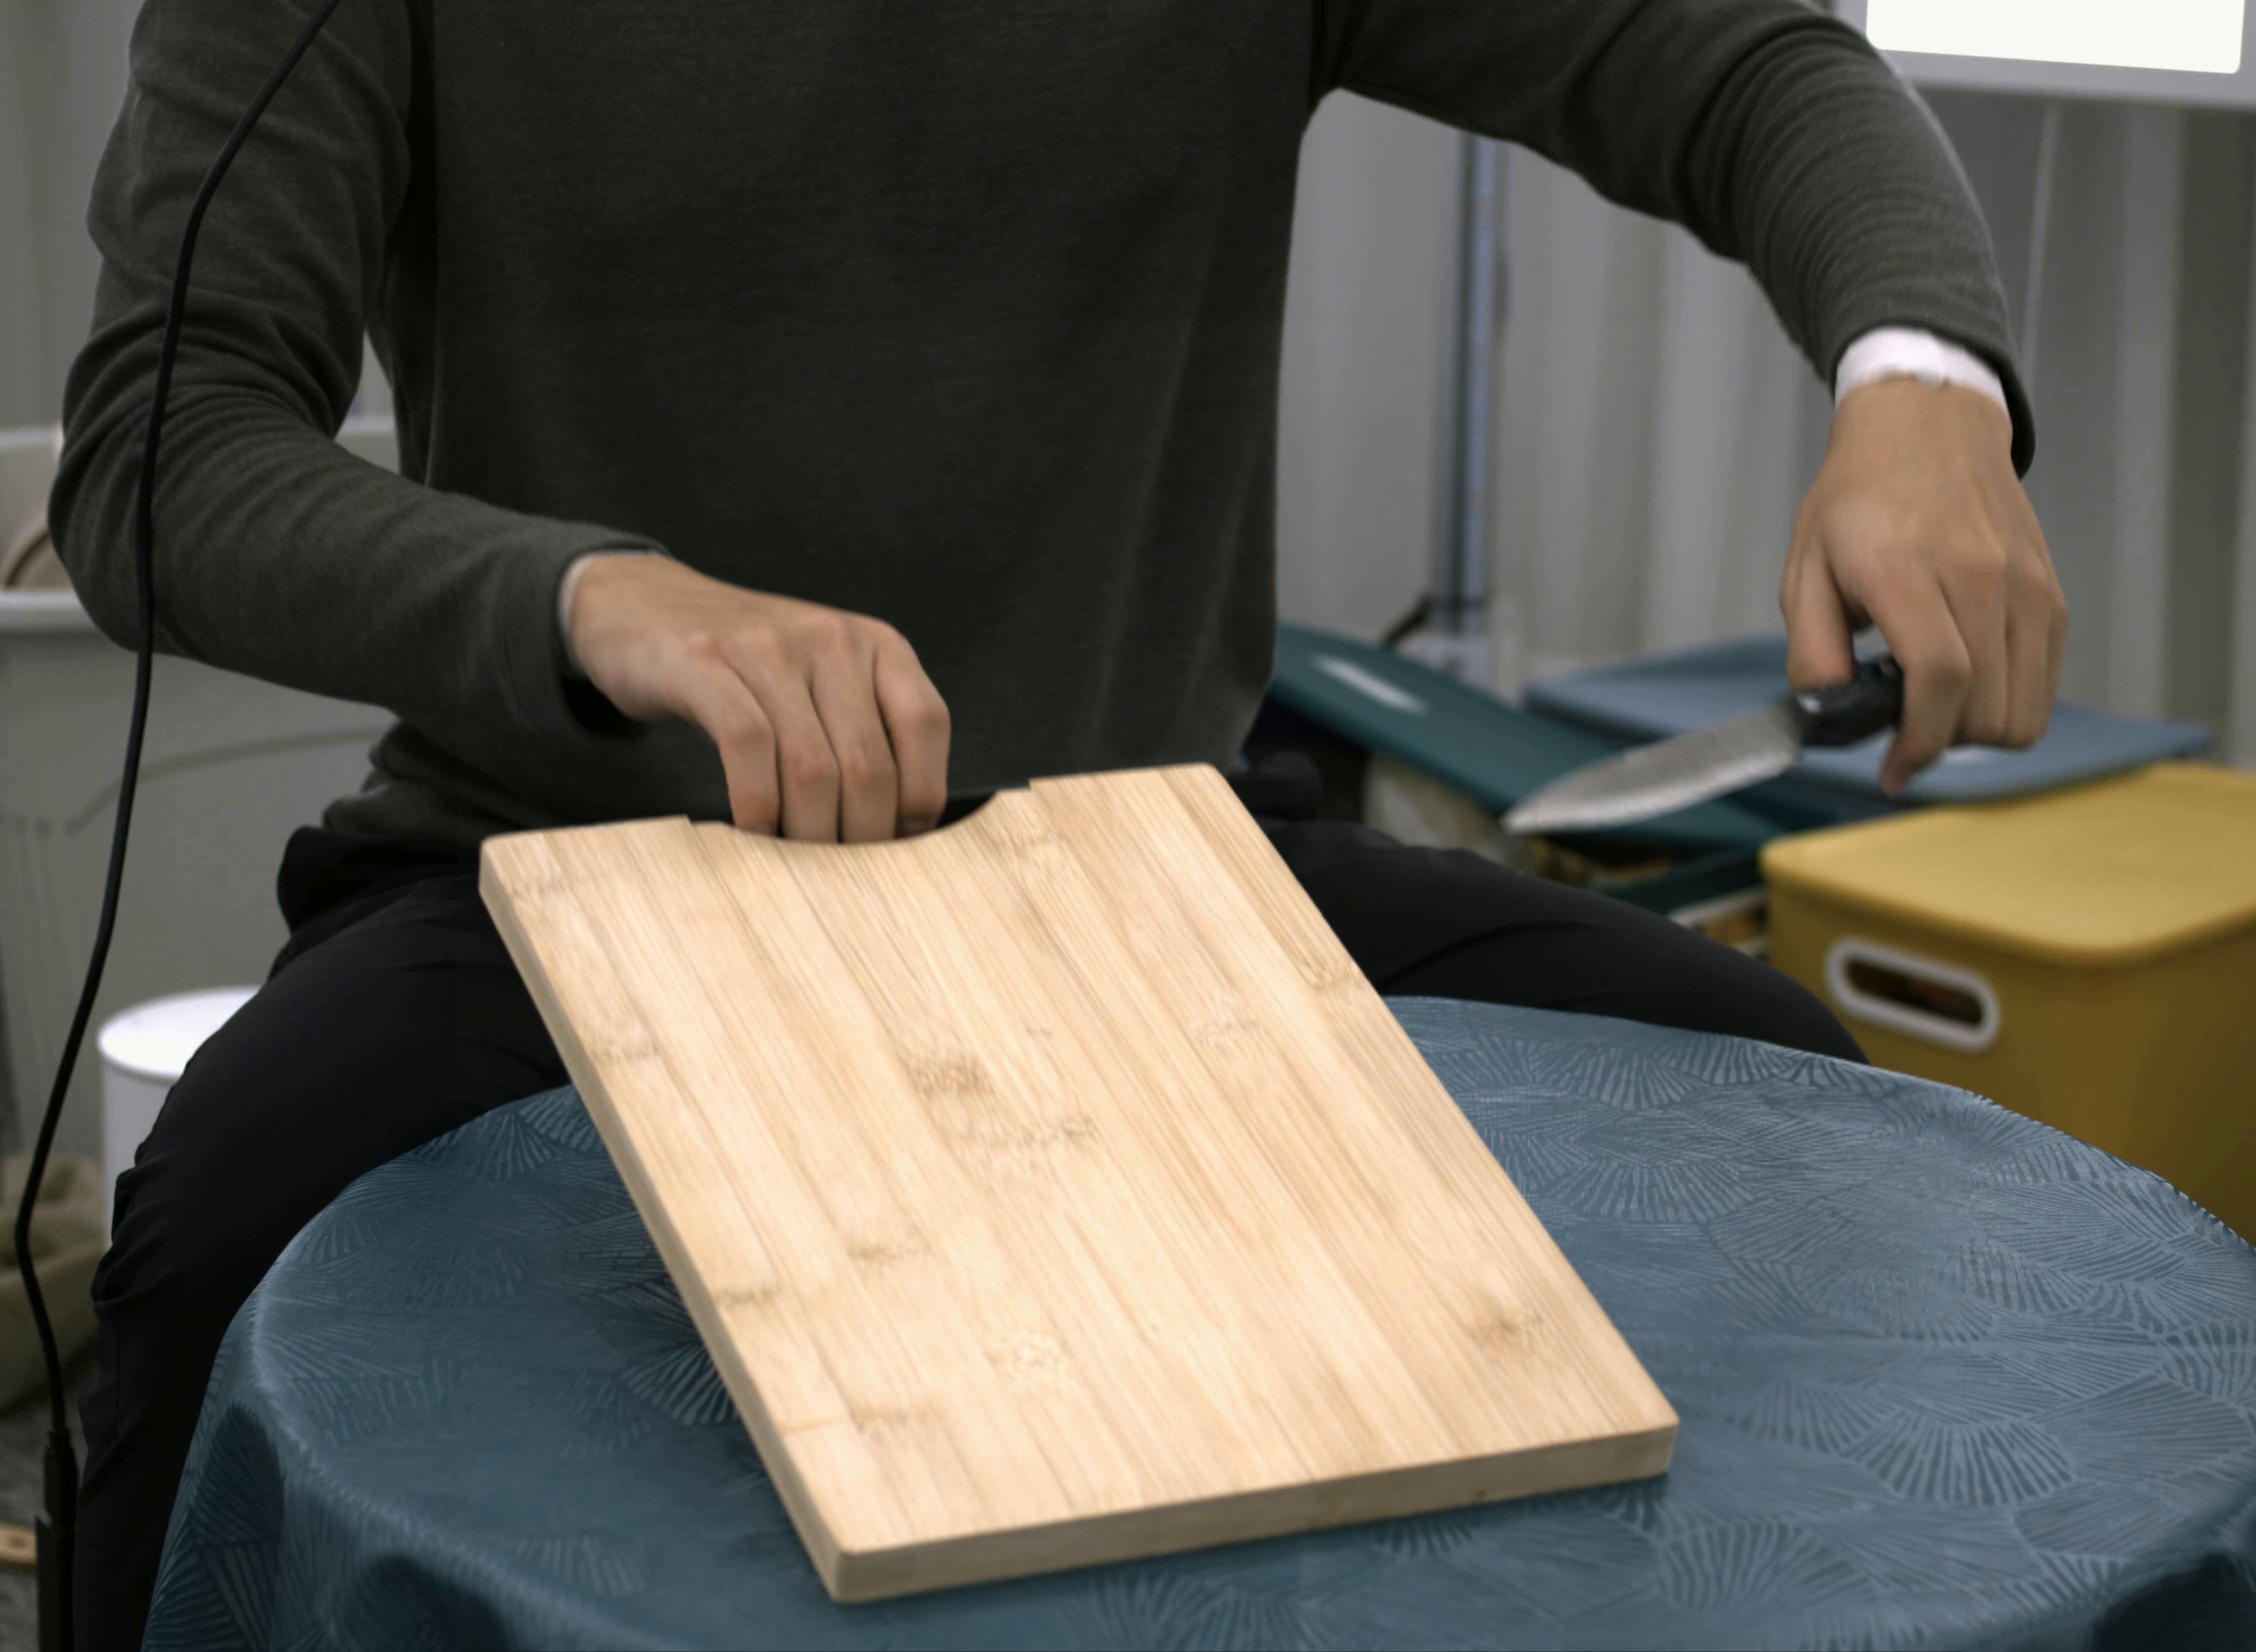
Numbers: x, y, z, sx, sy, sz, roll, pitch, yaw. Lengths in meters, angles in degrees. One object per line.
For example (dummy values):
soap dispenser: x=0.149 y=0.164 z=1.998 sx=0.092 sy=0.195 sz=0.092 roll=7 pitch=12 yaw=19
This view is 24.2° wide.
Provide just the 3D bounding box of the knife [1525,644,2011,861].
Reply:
knife: x=0.186 y=-0.021 z=1.534 sx=0.024 sy=0.016 sz=0.239 roll=41 pitch=38 yaw=25

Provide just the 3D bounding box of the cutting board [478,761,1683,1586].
cutting board: x=-0.024 y=0.088 z=1.491 sx=0.251 sy=0.024 sz=0.344 roll=-6 pitch=34 yaw=-23
